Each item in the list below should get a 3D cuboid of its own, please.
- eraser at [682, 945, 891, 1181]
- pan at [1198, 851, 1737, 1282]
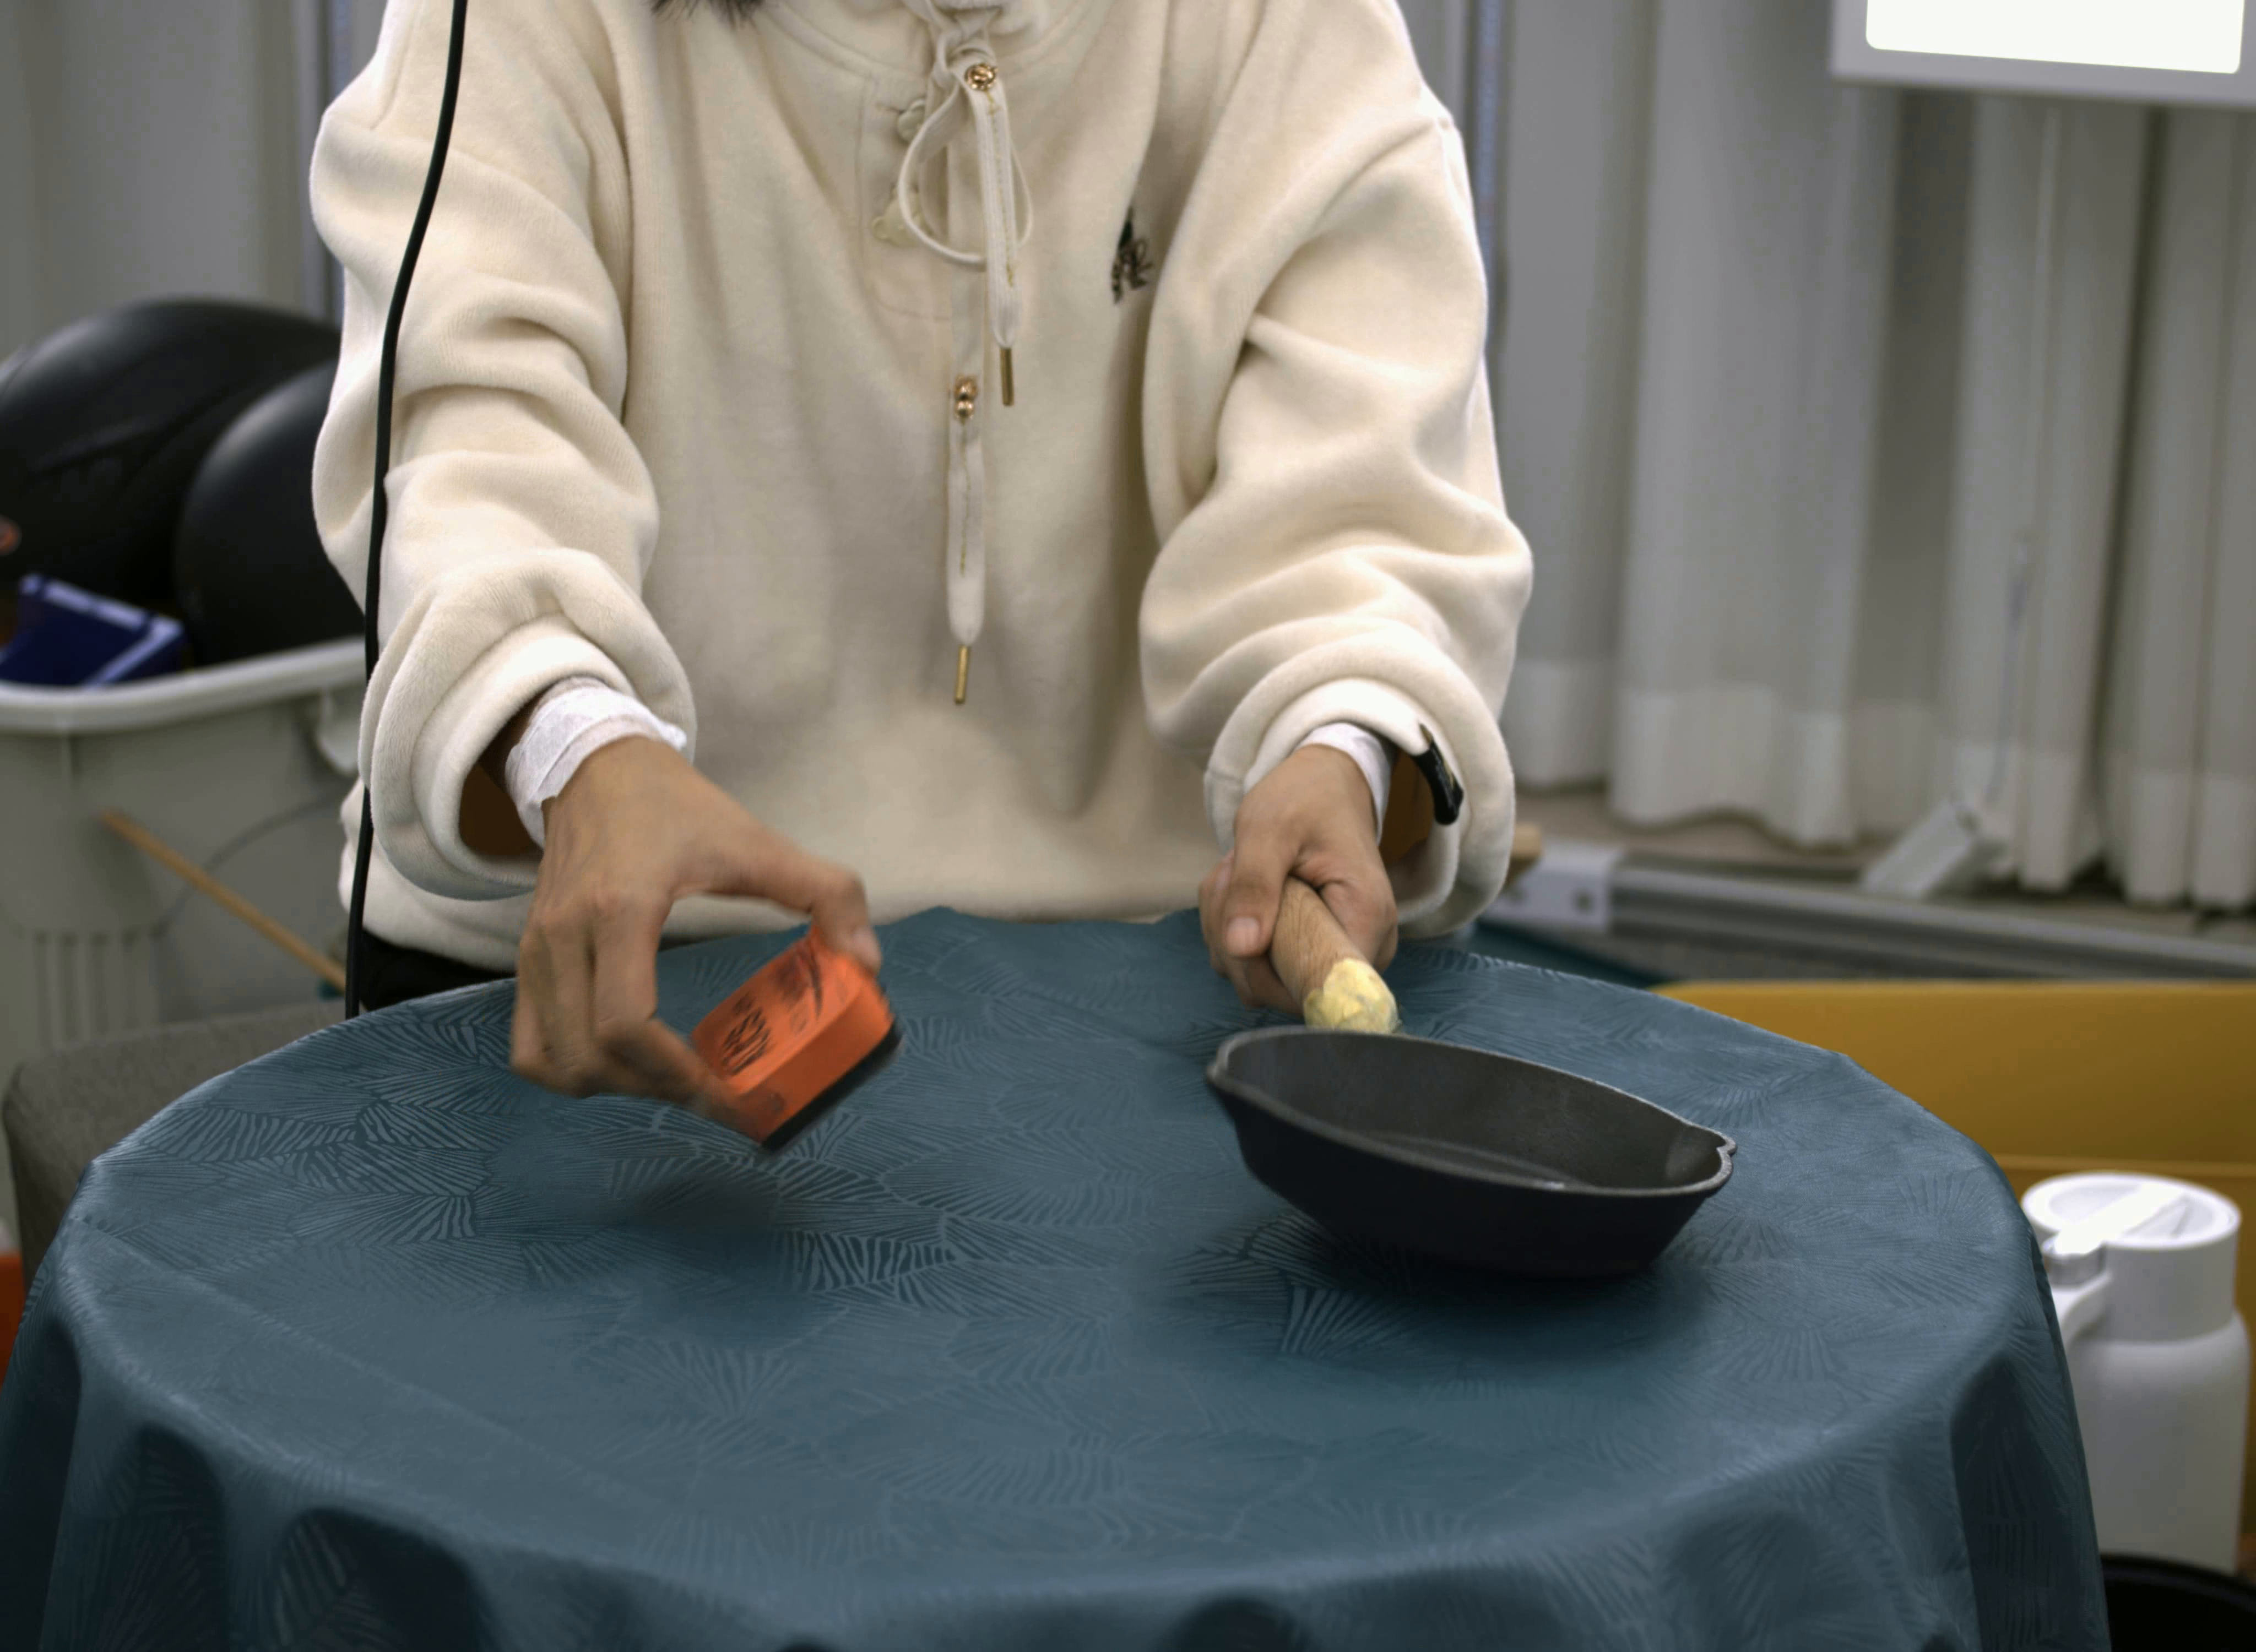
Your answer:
[{"bbox_3d":[-0.104,0.070,1.587,0.059,0.023,0.107,-40,13,-1],"label":"eraser"},{"bbox_3d":[0.081,0.072,1.644,0.169,0.050,0.321,6,14,-16],"label":"pan"}]
